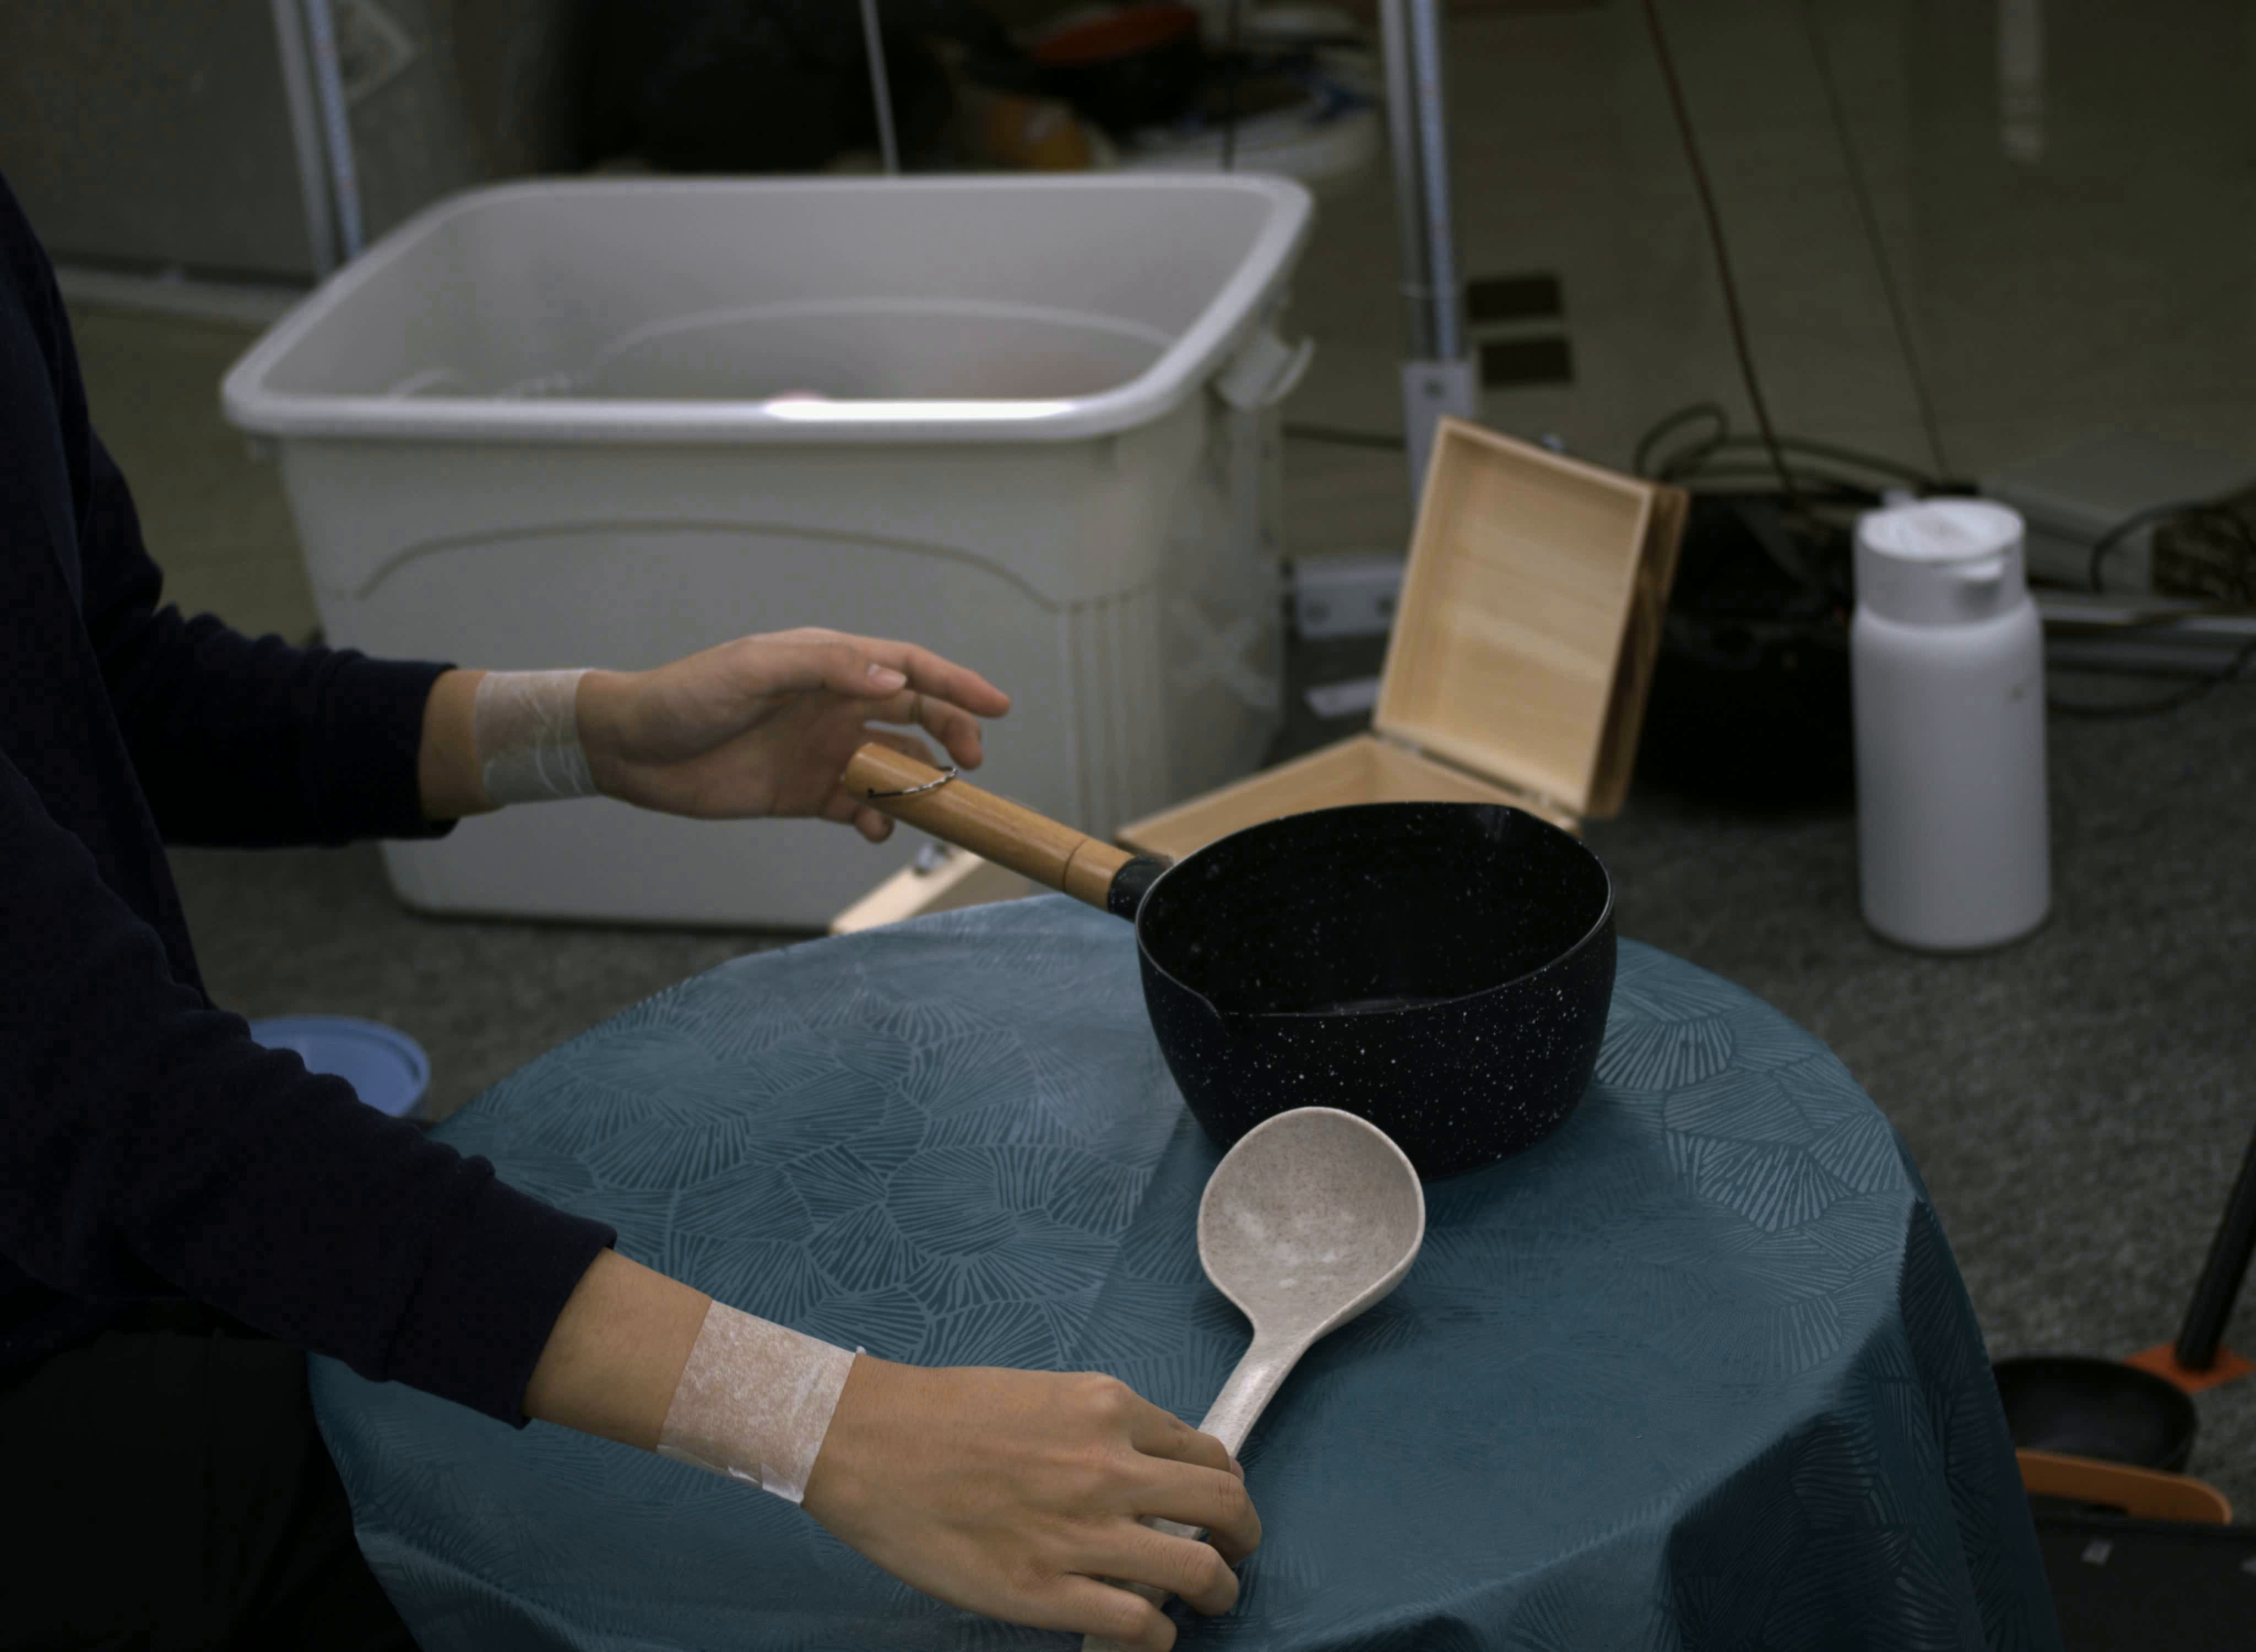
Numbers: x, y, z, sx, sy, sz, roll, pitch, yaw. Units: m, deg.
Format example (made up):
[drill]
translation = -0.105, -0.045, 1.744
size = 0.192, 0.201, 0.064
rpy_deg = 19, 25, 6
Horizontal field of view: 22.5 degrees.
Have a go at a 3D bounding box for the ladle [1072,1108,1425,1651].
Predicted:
[ladle]
translation = 0.027, 0.191, 1.952
size = 0.089, 0.070, 0.271
rpy_deg = -1, 26, 24

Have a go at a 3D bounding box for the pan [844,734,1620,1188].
[pan]
translation = 0.031, 0.044, 2.213
size = 0.341, 0.110, 0.205
rpy_deg = 12, 32, 32
